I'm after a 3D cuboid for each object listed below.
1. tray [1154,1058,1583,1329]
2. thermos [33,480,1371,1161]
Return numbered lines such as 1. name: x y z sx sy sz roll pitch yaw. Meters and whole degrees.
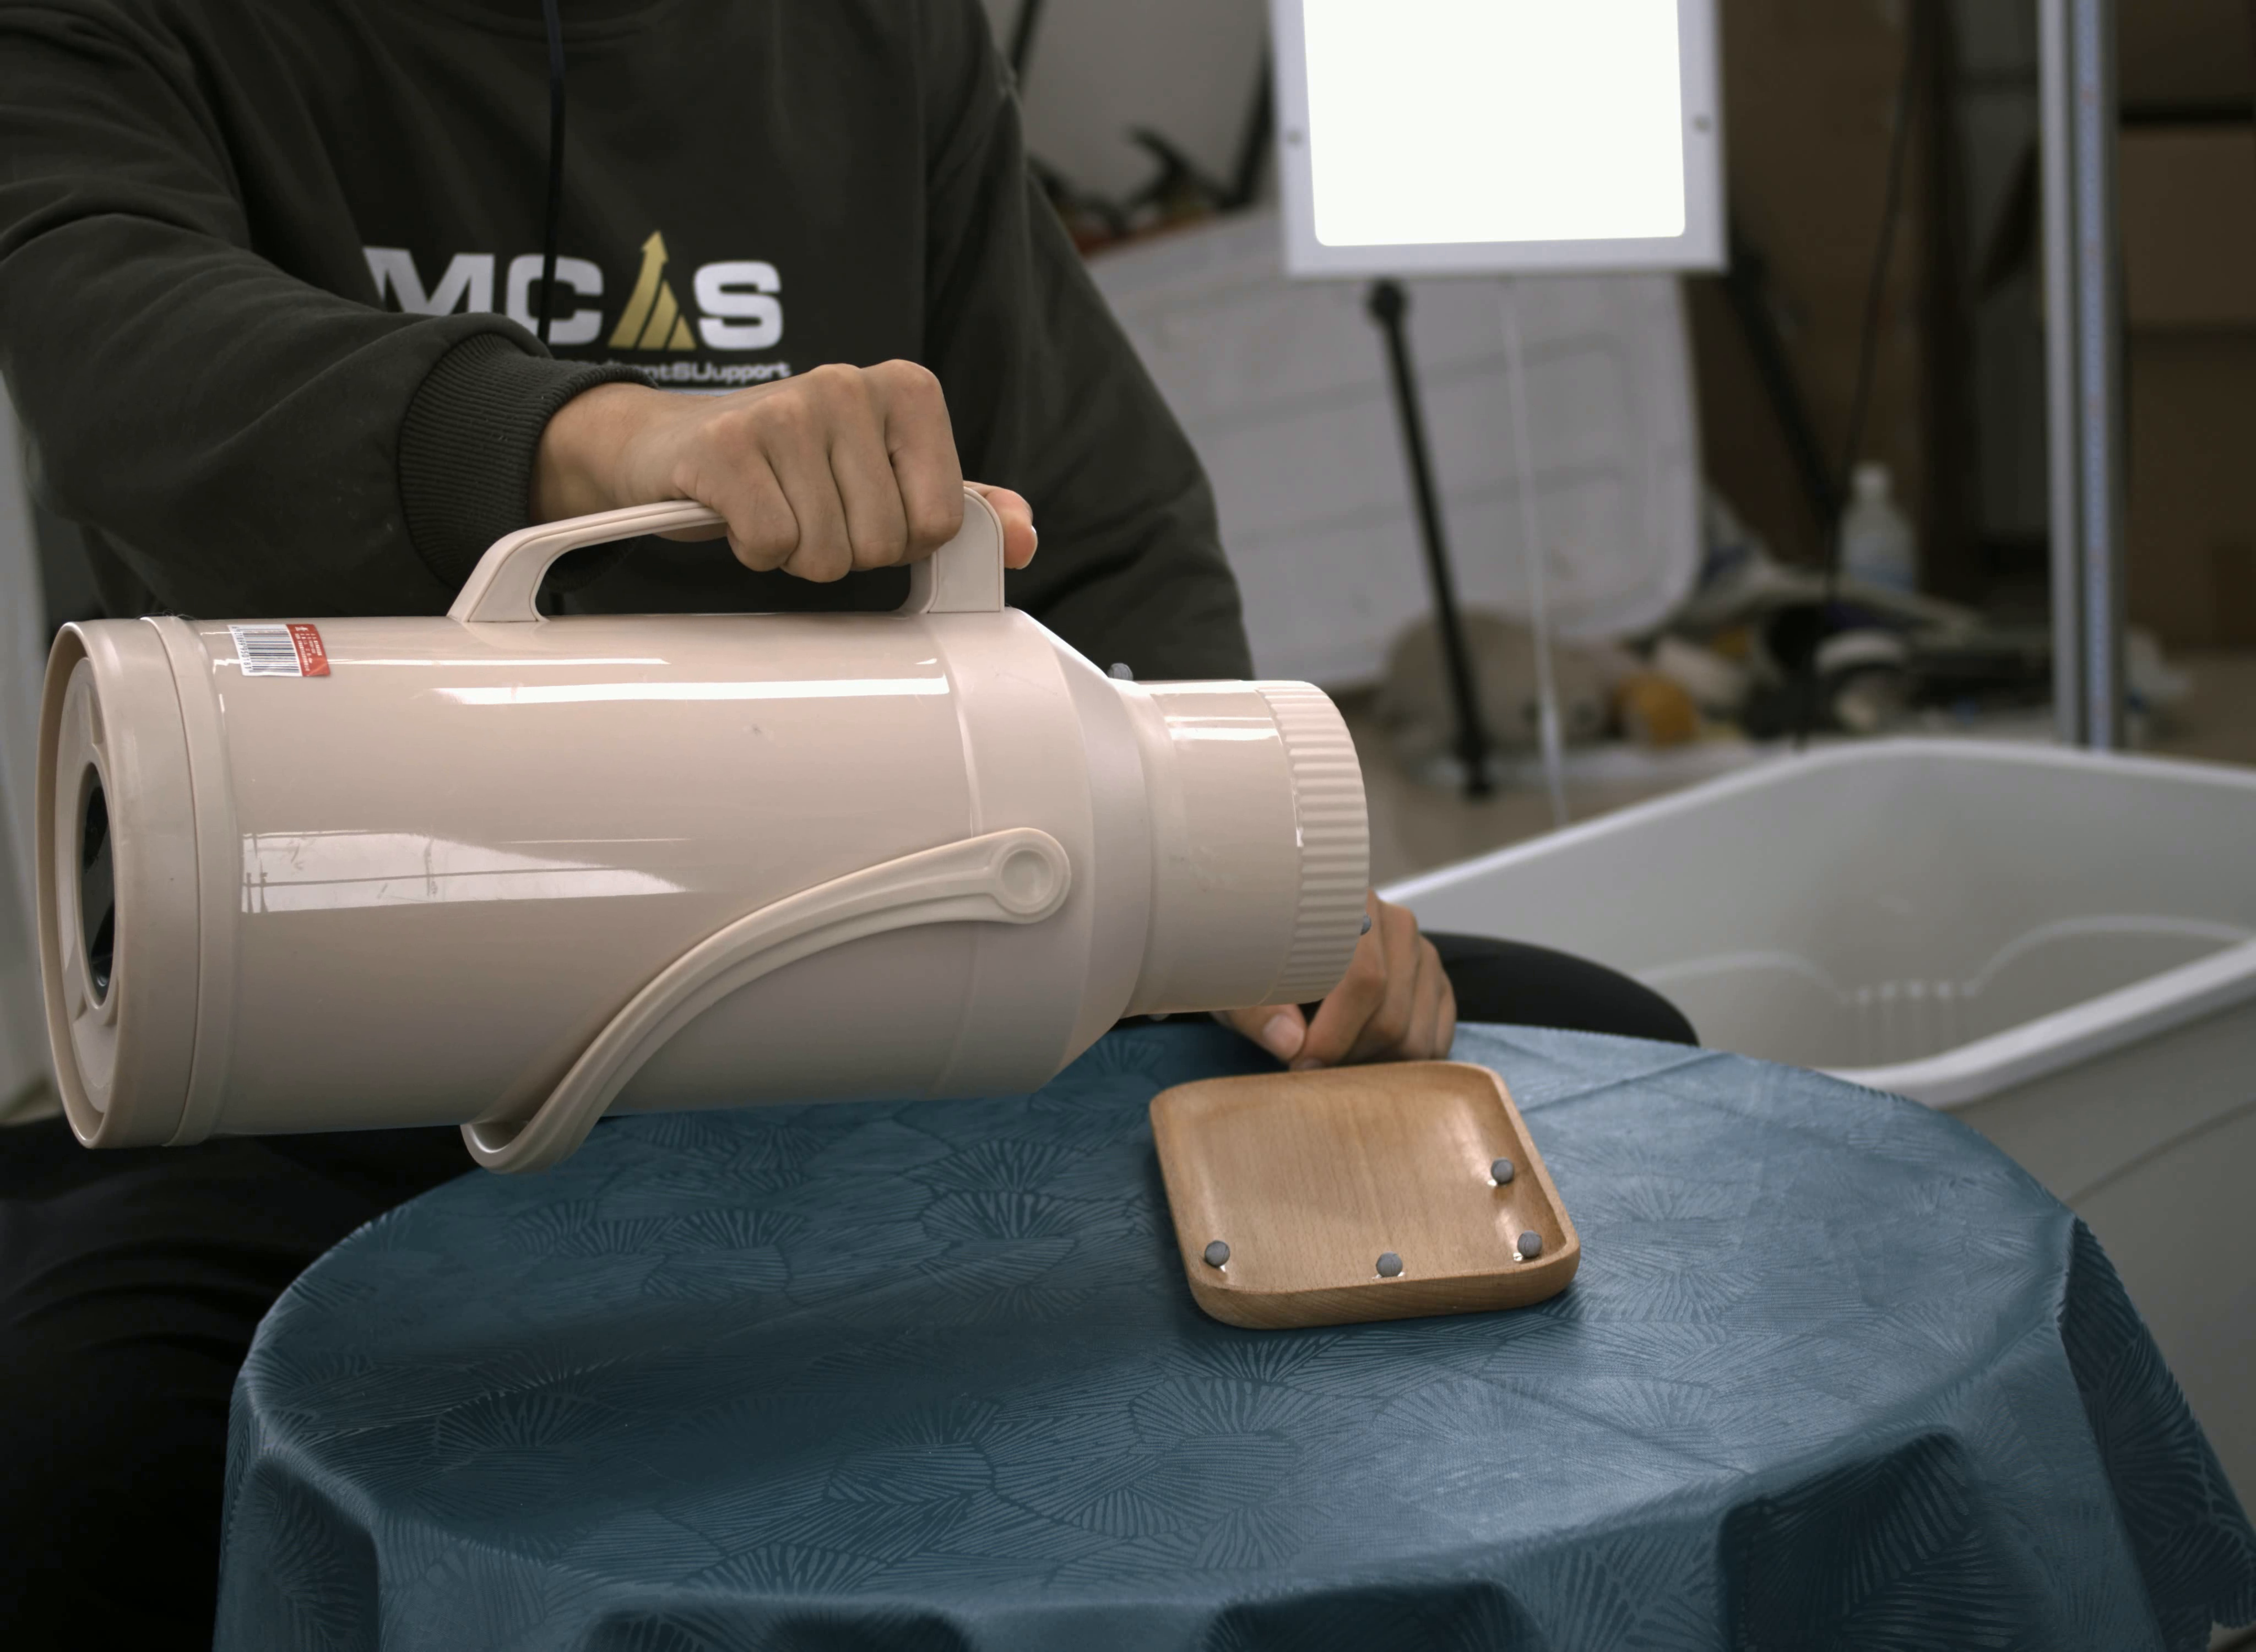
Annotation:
1. tray: 0.078 0.122 1.858 0.130 0.023 0.250 -3 13 -1
2. thermos: -0.130 -0.003 1.719 0.400 0.208 0.177 -2 6 -16
